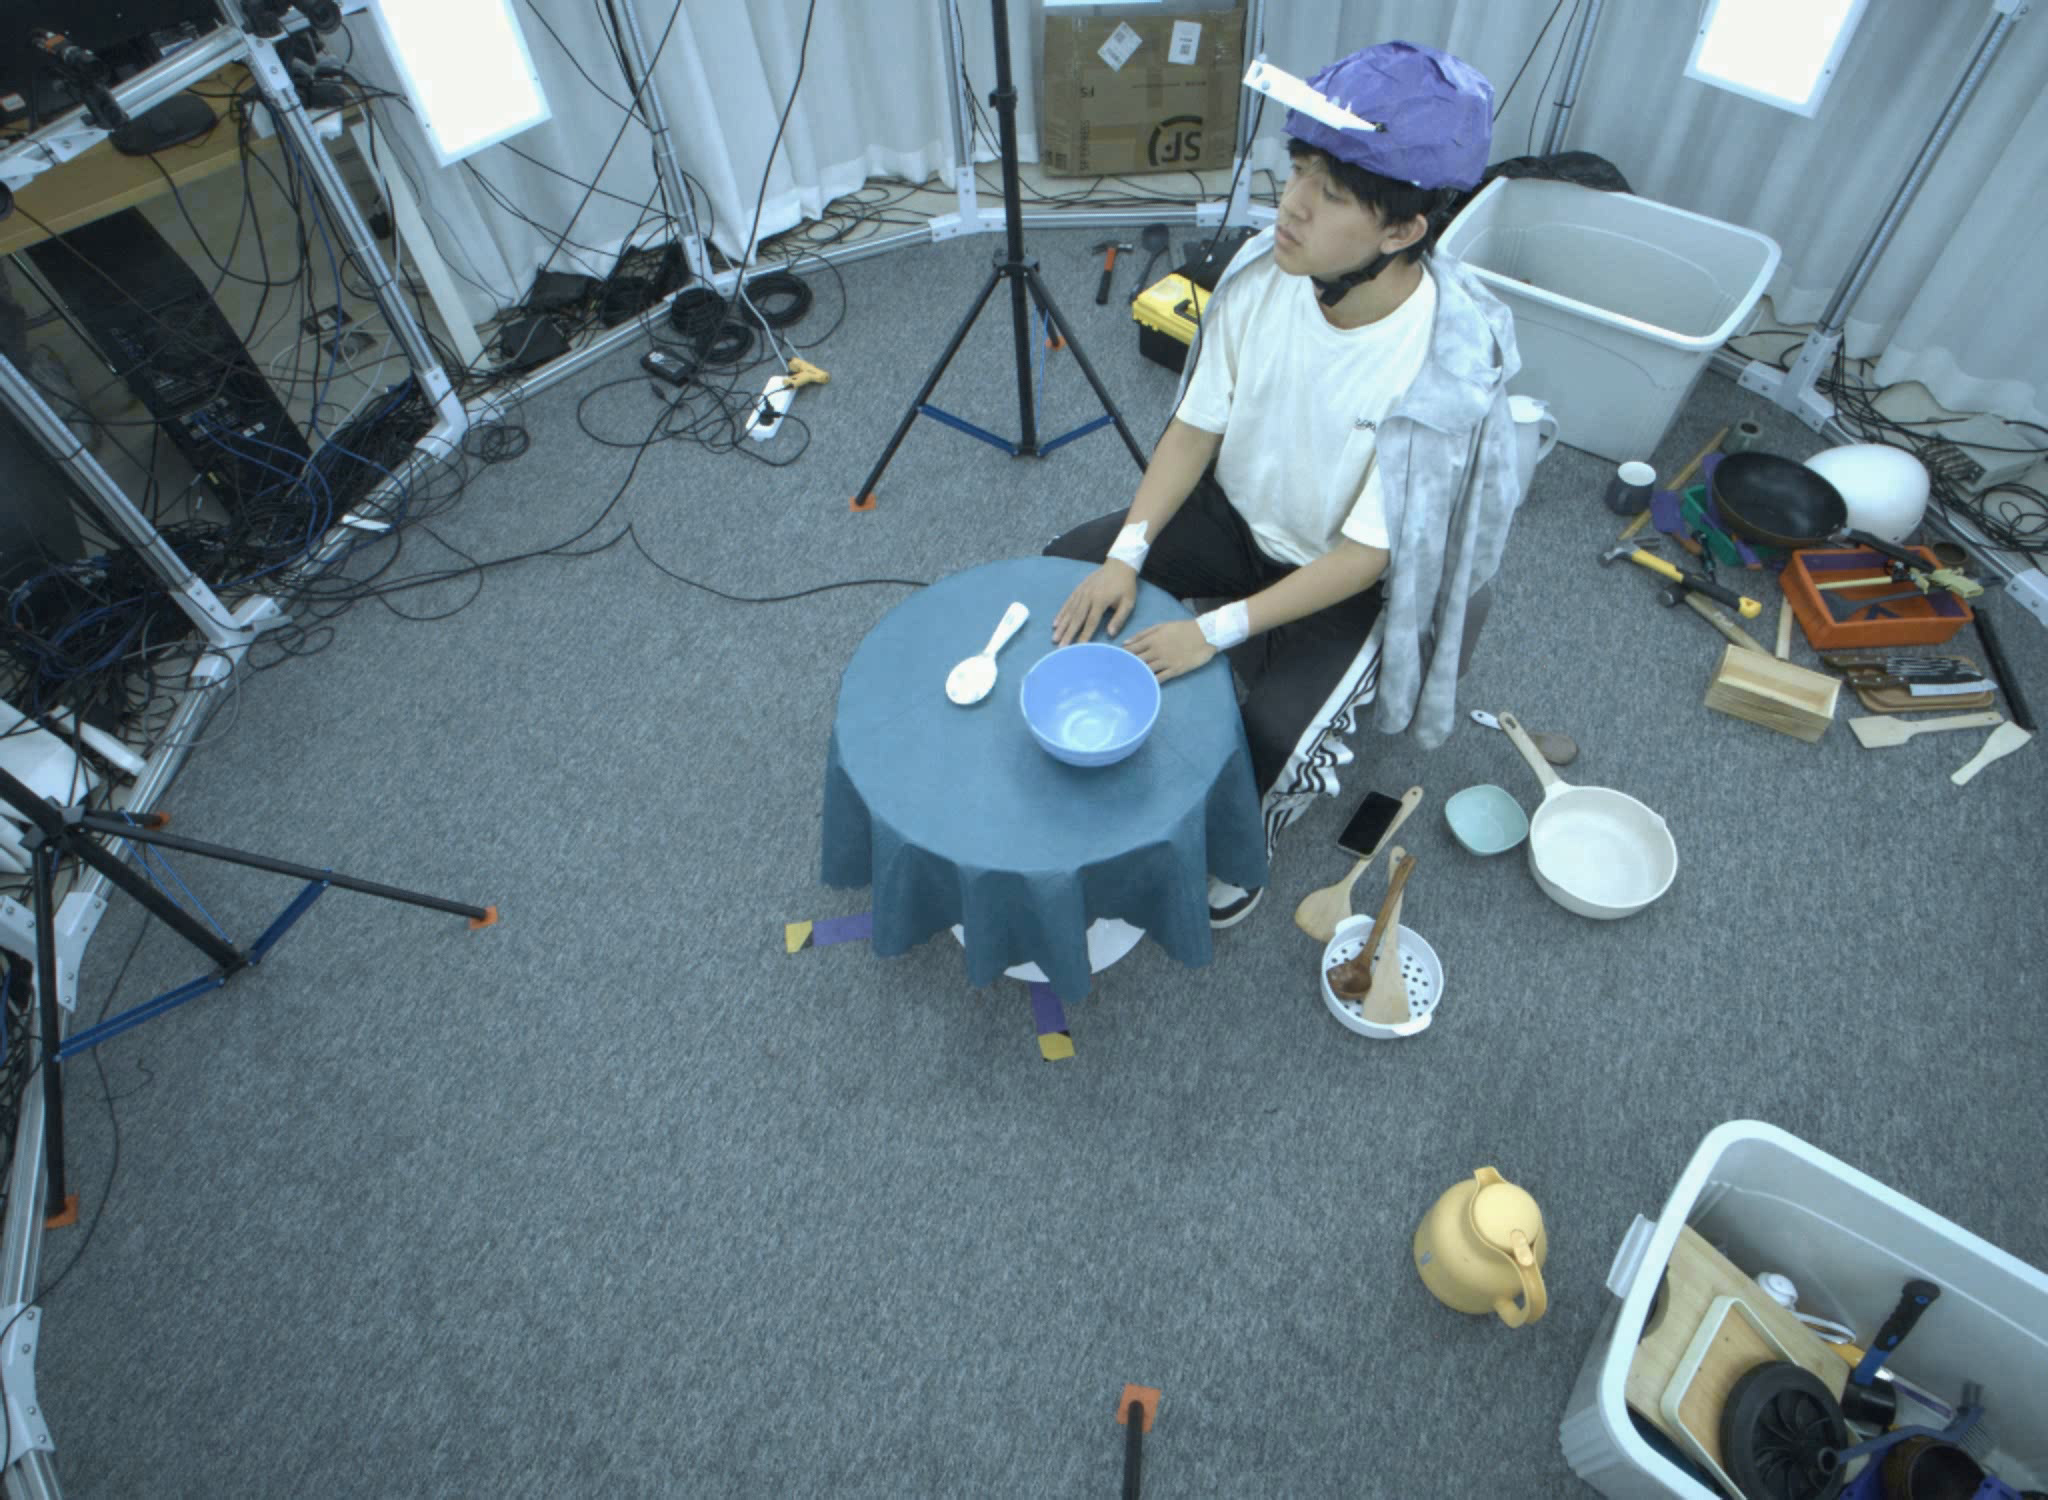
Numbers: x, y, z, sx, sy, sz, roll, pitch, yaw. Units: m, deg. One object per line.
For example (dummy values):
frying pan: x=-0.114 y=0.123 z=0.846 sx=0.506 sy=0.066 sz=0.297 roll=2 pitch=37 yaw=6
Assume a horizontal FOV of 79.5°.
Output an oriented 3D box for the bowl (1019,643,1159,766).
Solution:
bowl: x=0.095 y=-0.050 z=1.762 sx=0.196 sy=0.096 sz=0.194 roll=-2 pitch=55 yaw=4

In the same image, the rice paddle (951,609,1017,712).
rice paddle: x=-0.056 y=-0.136 z=1.875 sx=0.069 sy=0.029 sz=0.205 roll=21 pitch=54 yaw=1
